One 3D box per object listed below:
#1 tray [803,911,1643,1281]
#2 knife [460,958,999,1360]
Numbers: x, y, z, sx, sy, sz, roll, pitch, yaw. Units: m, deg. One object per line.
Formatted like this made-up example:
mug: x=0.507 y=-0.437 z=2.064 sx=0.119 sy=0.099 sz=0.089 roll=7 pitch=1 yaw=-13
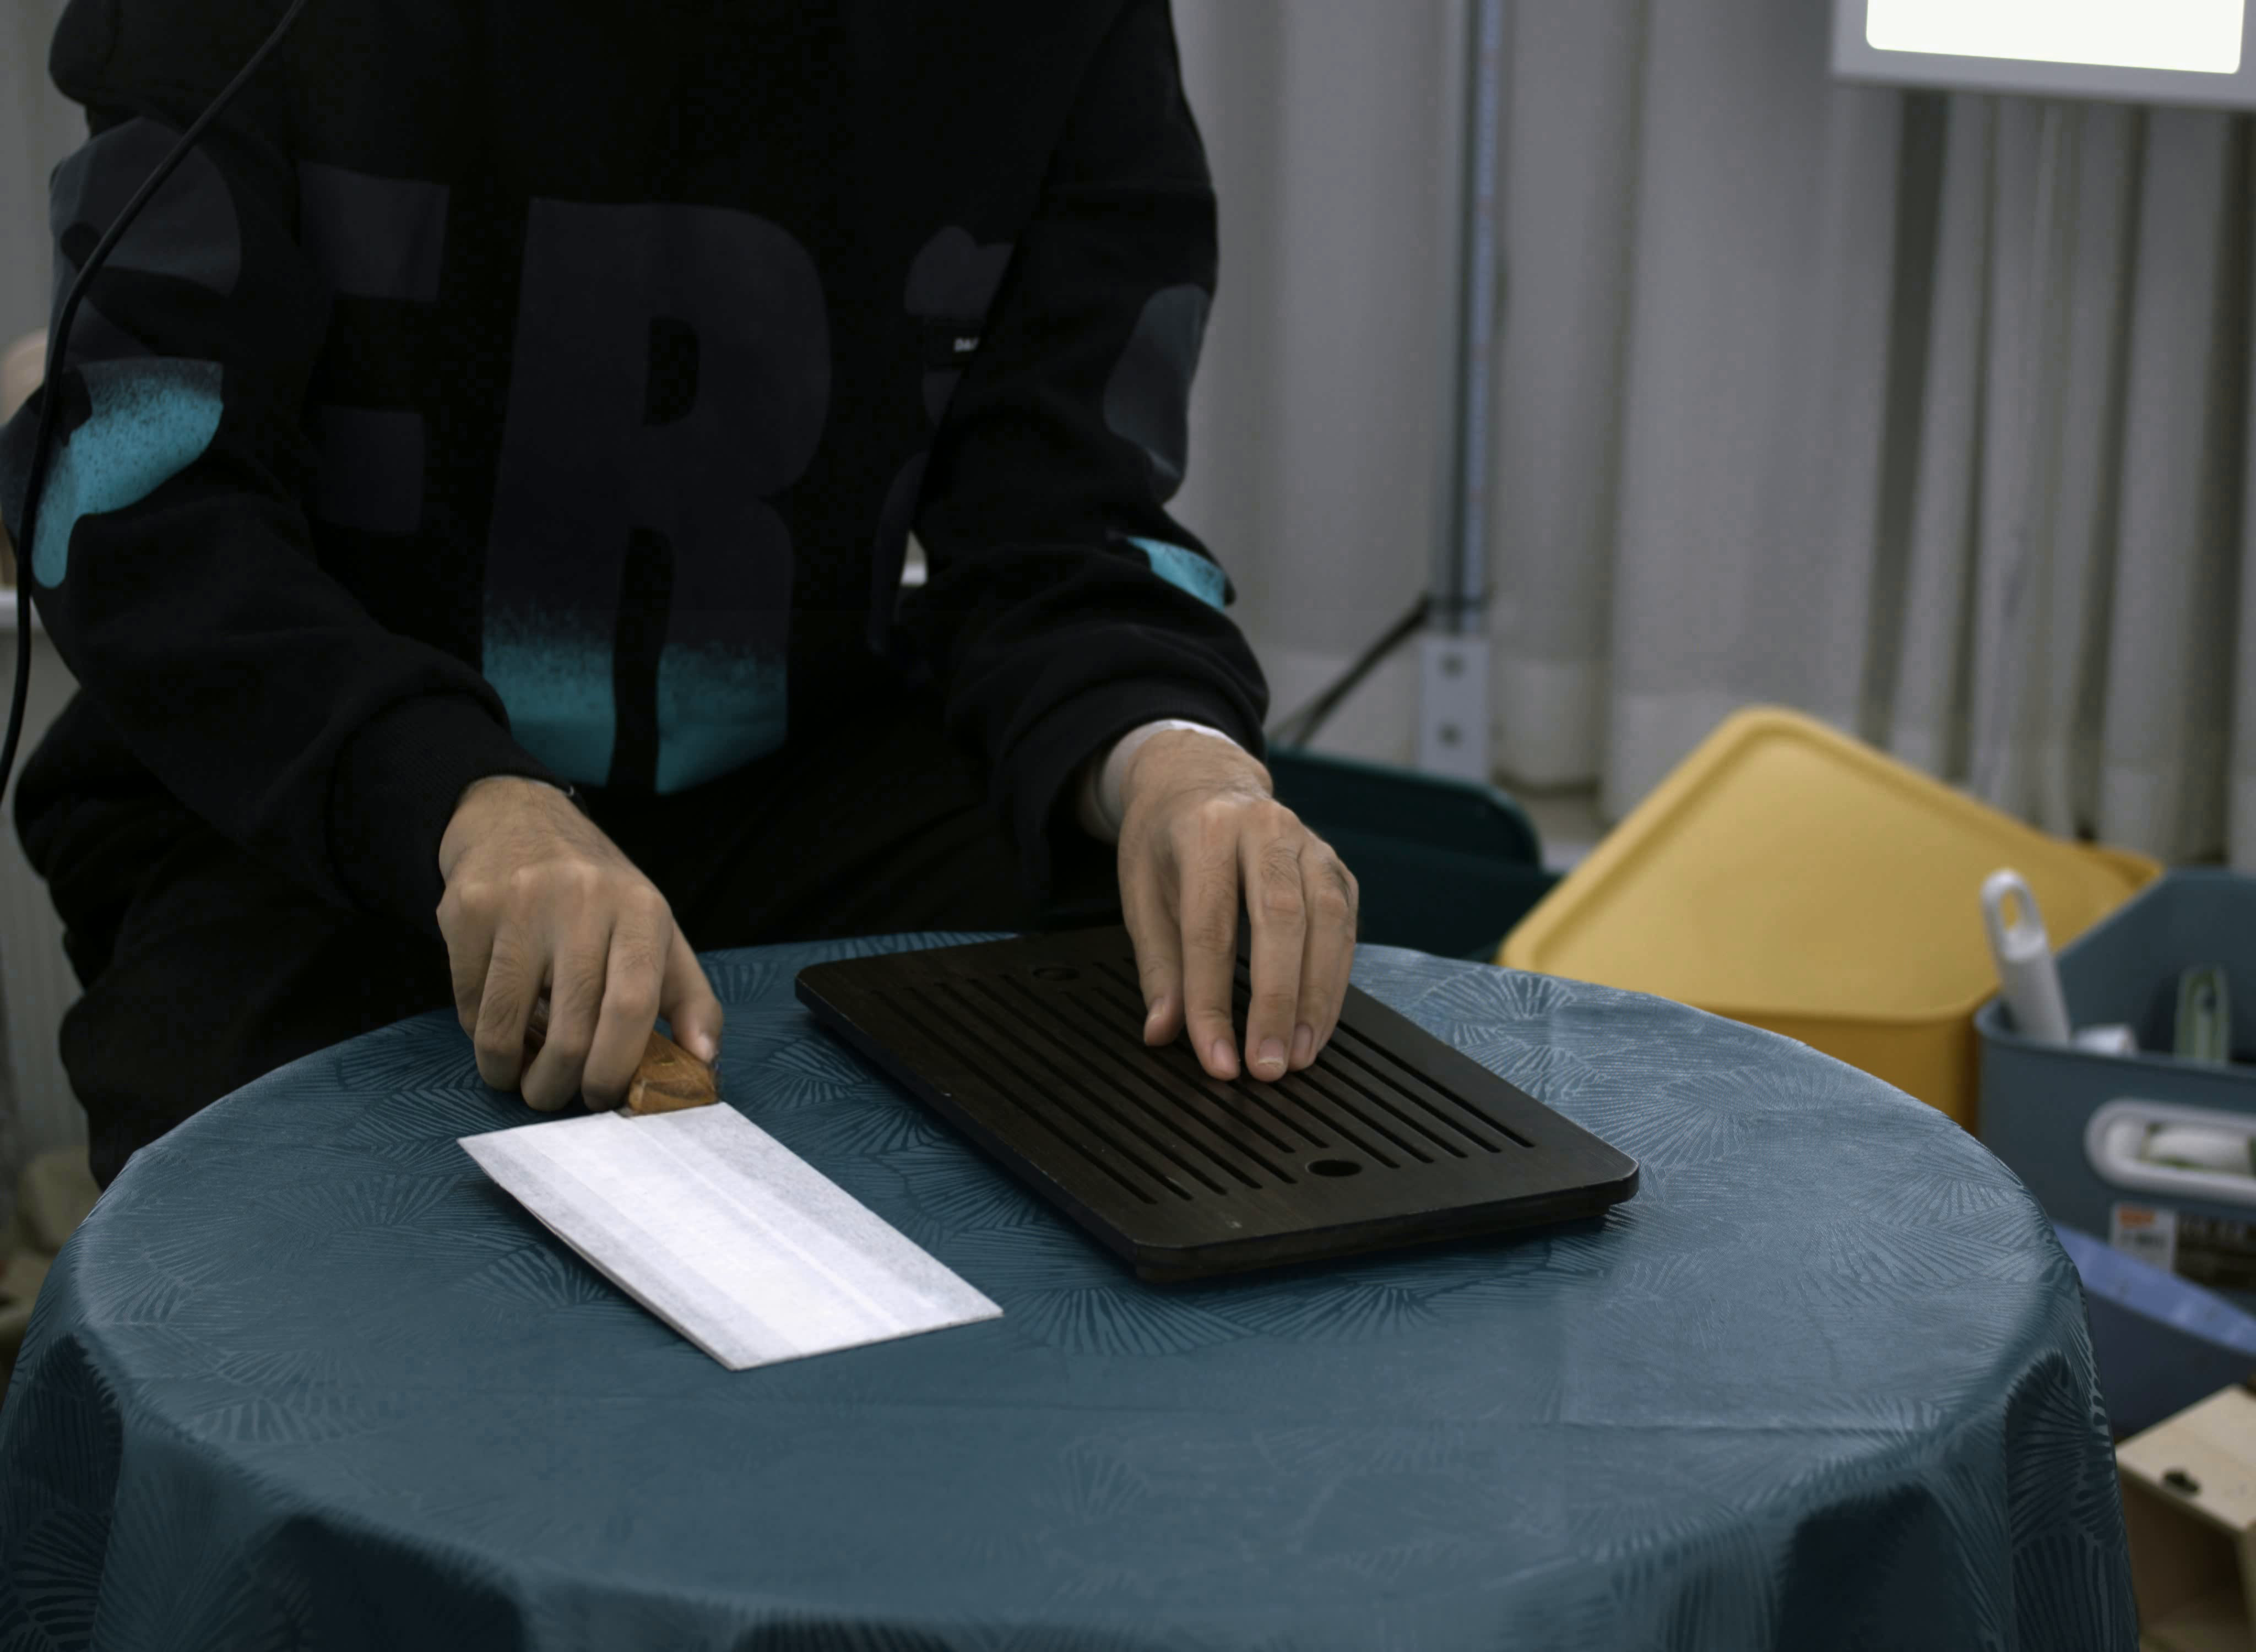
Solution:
tray: x=0.023 y=0.083 z=1.694 sx=0.170 sy=0.019 sz=0.302 roll=-7 pitch=17 yaw=-23
knife: x=-0.149 y=0.101 z=1.615 sx=0.093 sy=0.021 sz=0.301 roll=-9 pitch=22 yaw=-30
